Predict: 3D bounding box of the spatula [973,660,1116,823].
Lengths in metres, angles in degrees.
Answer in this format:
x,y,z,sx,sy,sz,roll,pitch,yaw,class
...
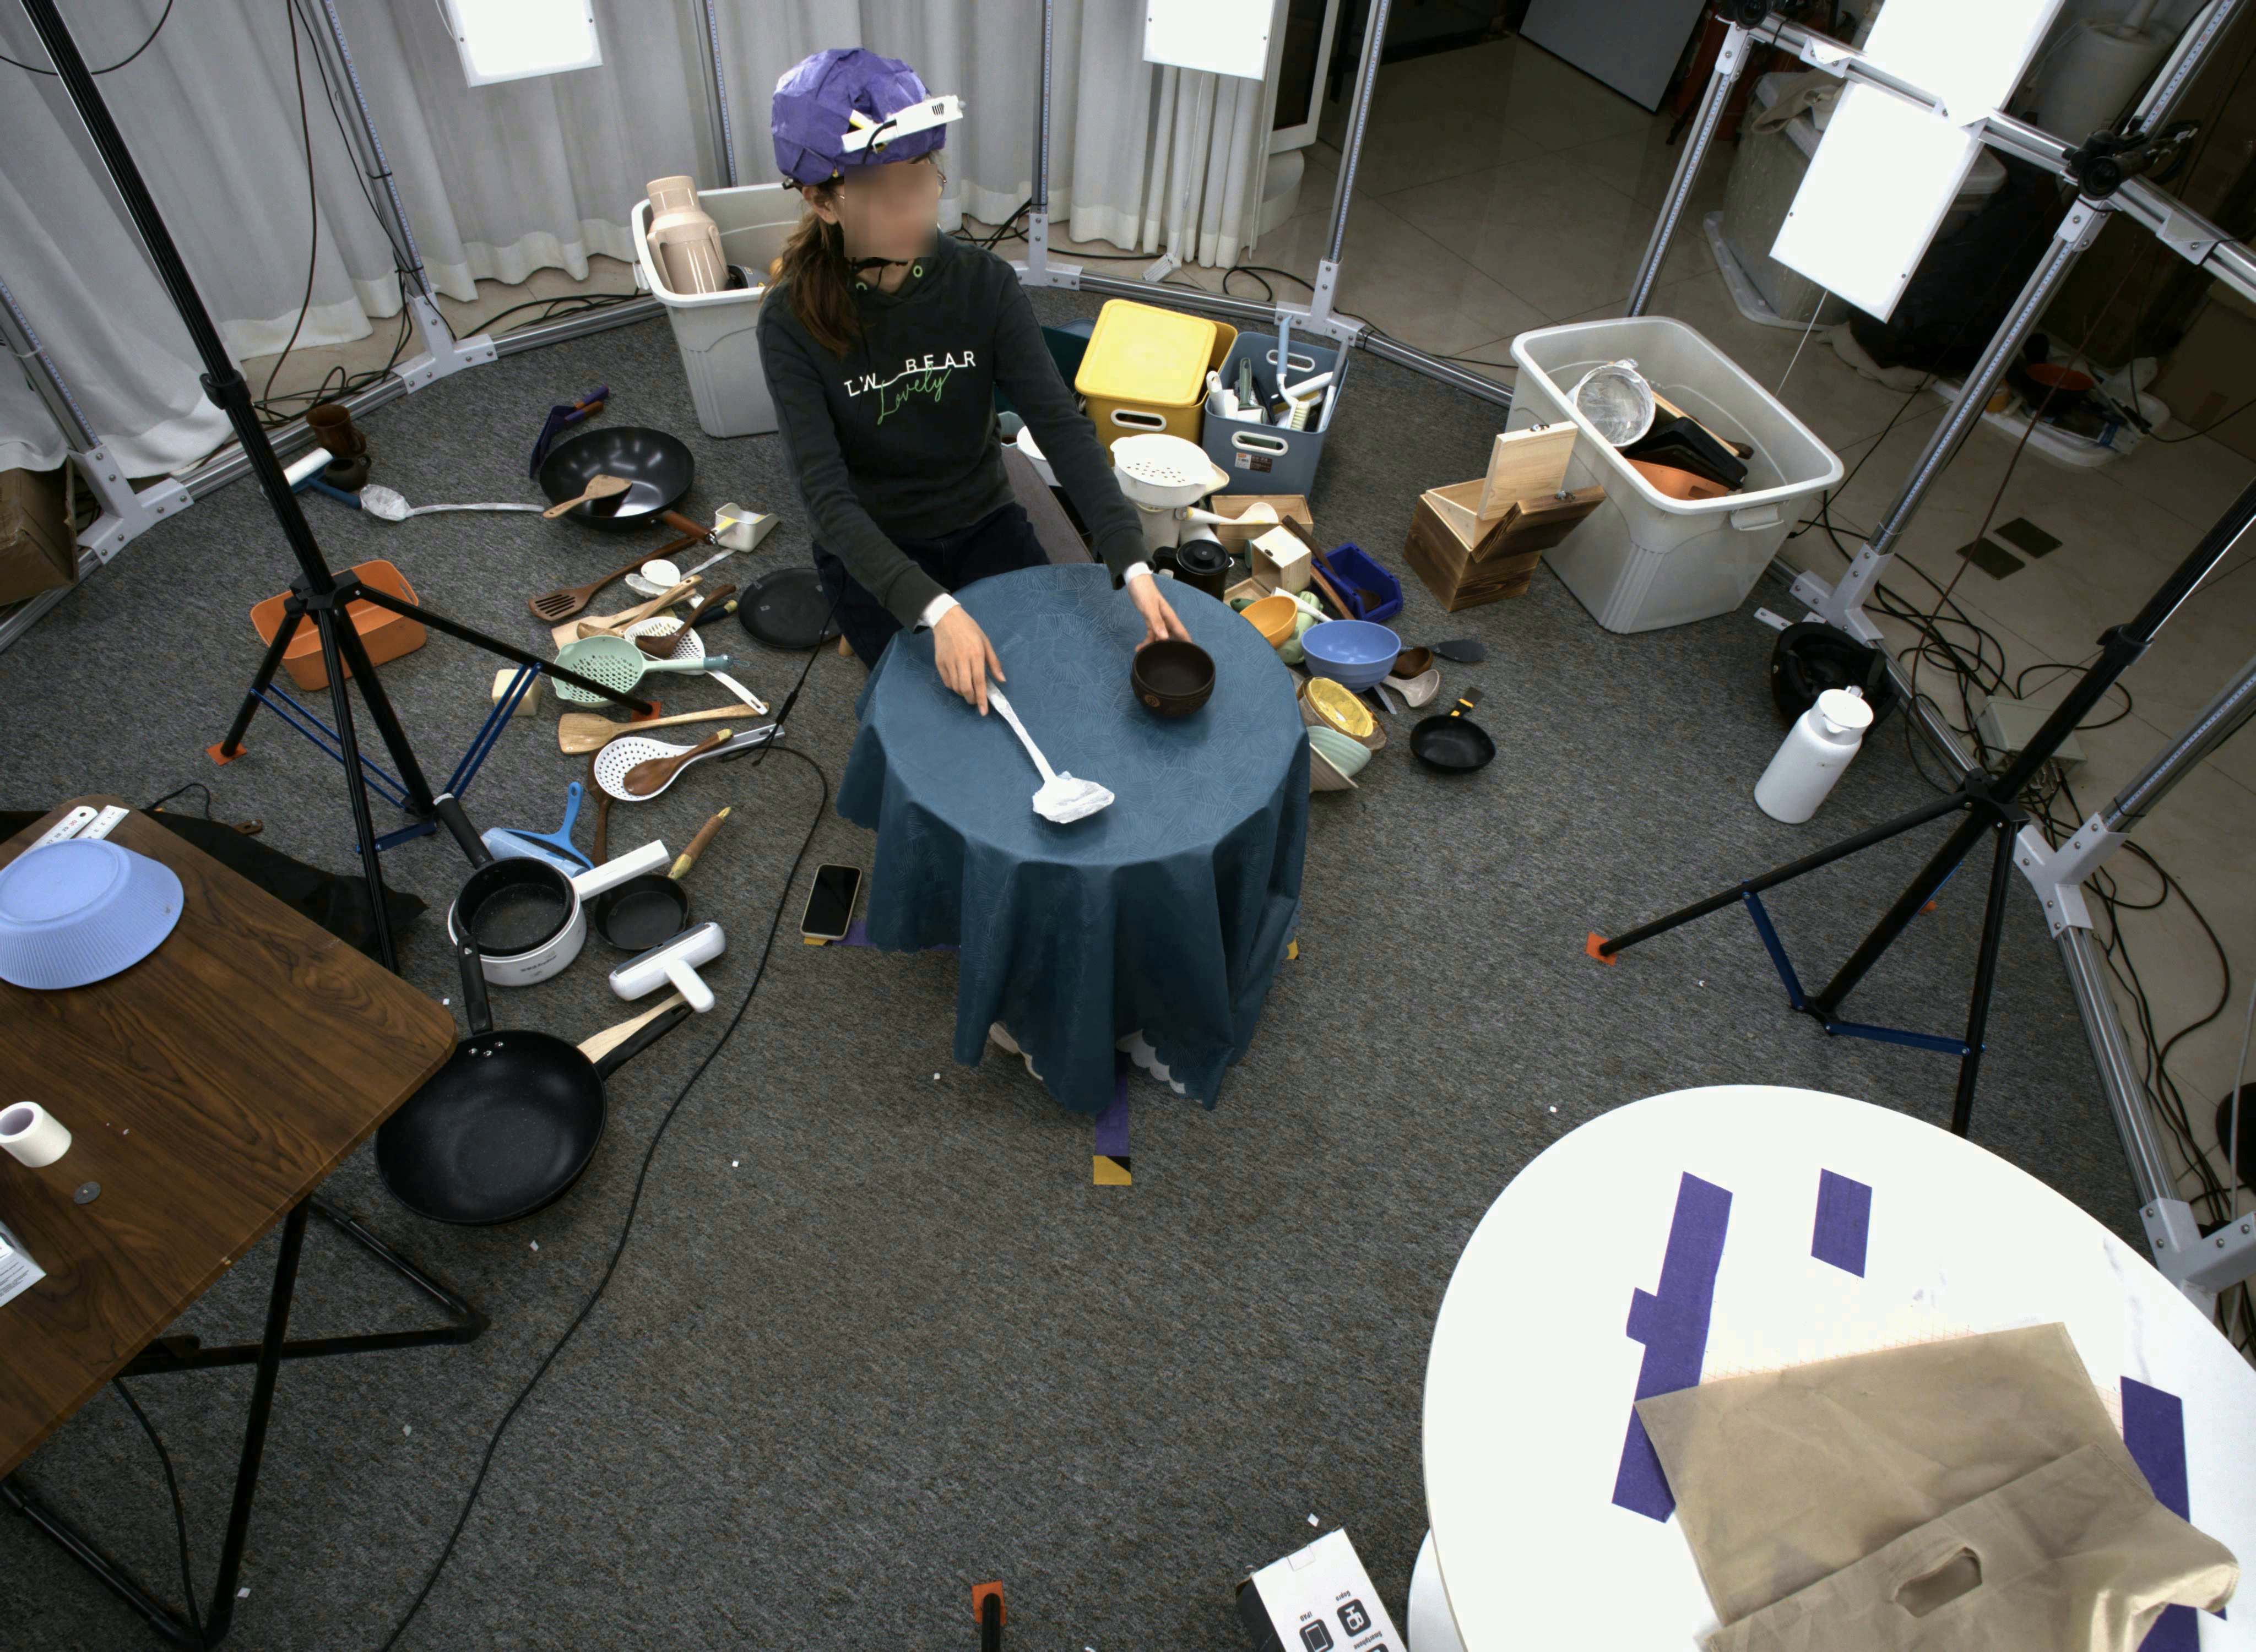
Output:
x,y,z,sx,sy,sz,roll,pitch,yaw,class
-0.137,-0.127,1.760,0.099,0.043,0.373,-22,54,-19,spatula

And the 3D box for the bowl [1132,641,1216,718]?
x,y,z,sx,sy,sz,roll,pitch,yaw,class
0.063,-0.199,1.816,0.118,0.068,0.121,3,47,-3,bowl
